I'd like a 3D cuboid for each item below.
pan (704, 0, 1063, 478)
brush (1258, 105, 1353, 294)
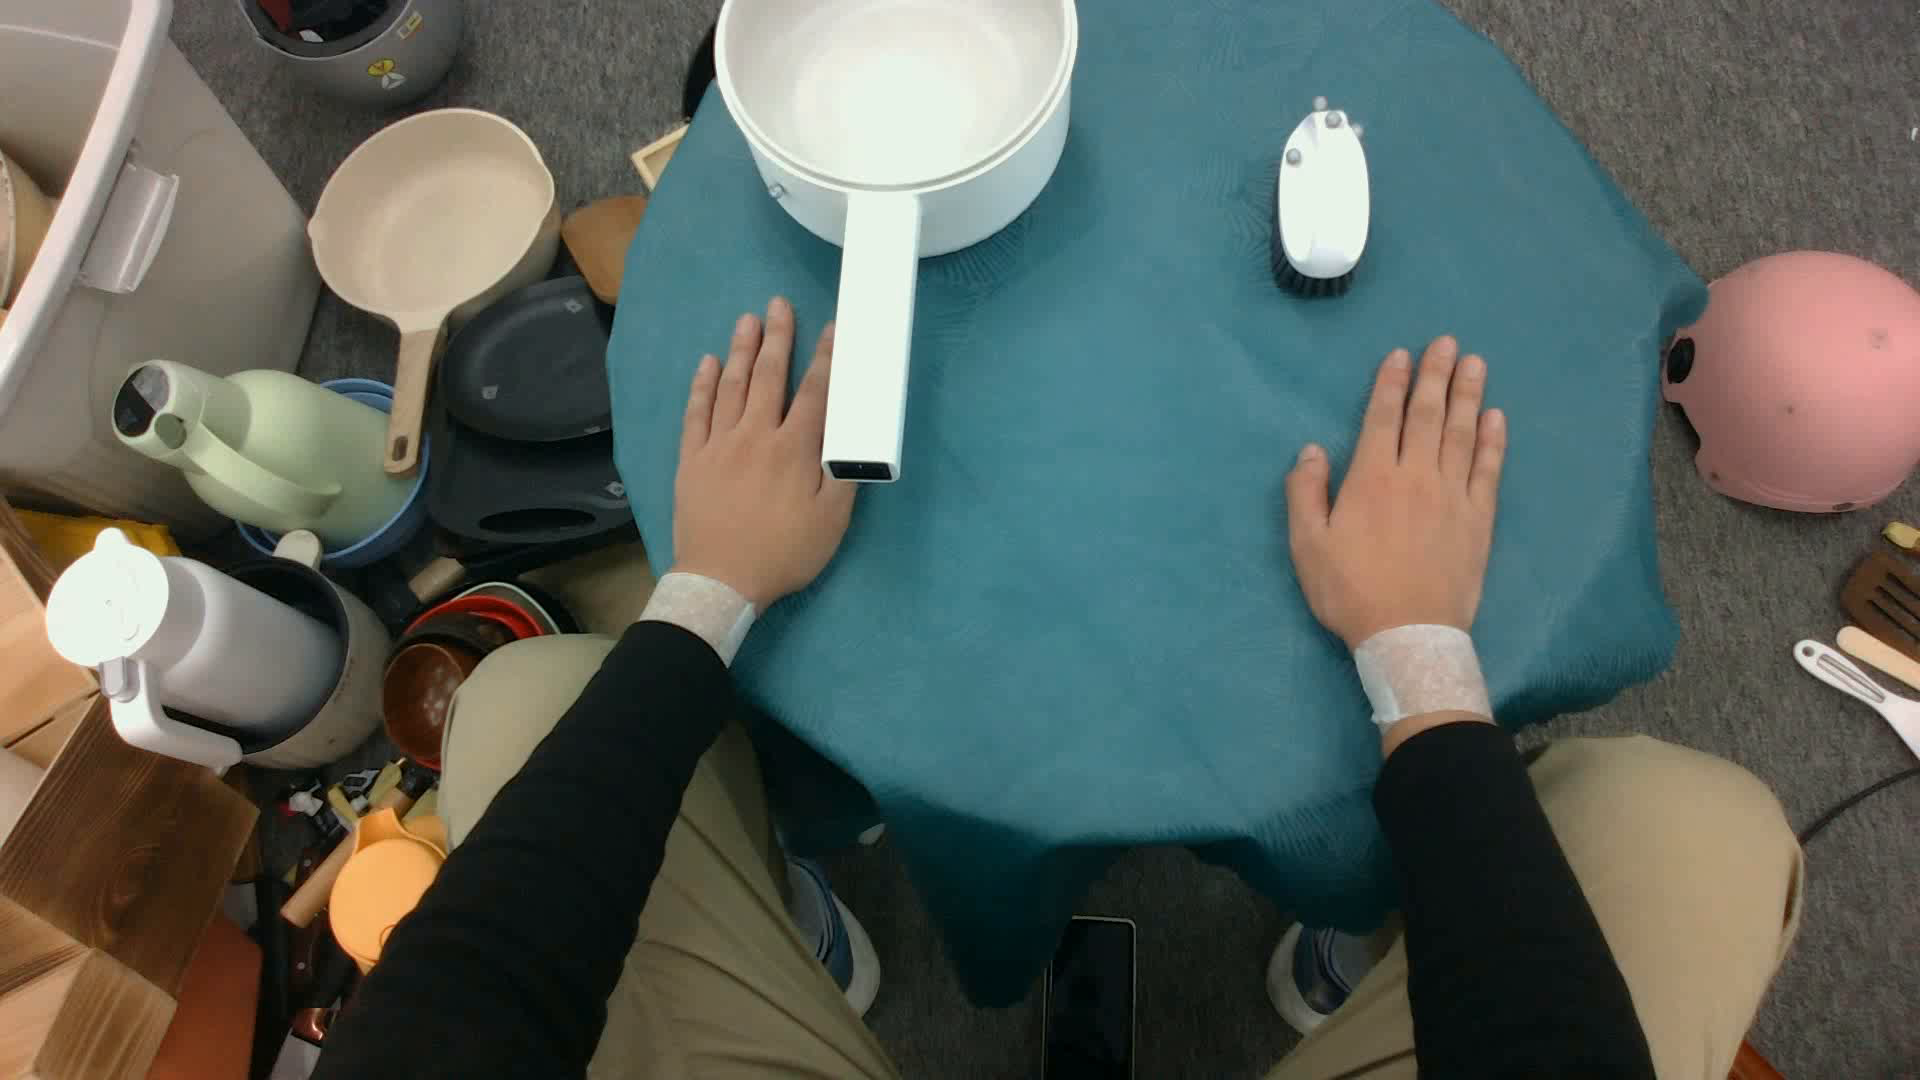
[{"bbox_3d":[-0.046,-0.195,0.787,0.201,0.102,0.356,2,72,2],"label":"pan"},{"bbox_3d":[0.199,-0.201,0.784,0.050,0.072,0.099,3,72,5],"label":"brush"}]
